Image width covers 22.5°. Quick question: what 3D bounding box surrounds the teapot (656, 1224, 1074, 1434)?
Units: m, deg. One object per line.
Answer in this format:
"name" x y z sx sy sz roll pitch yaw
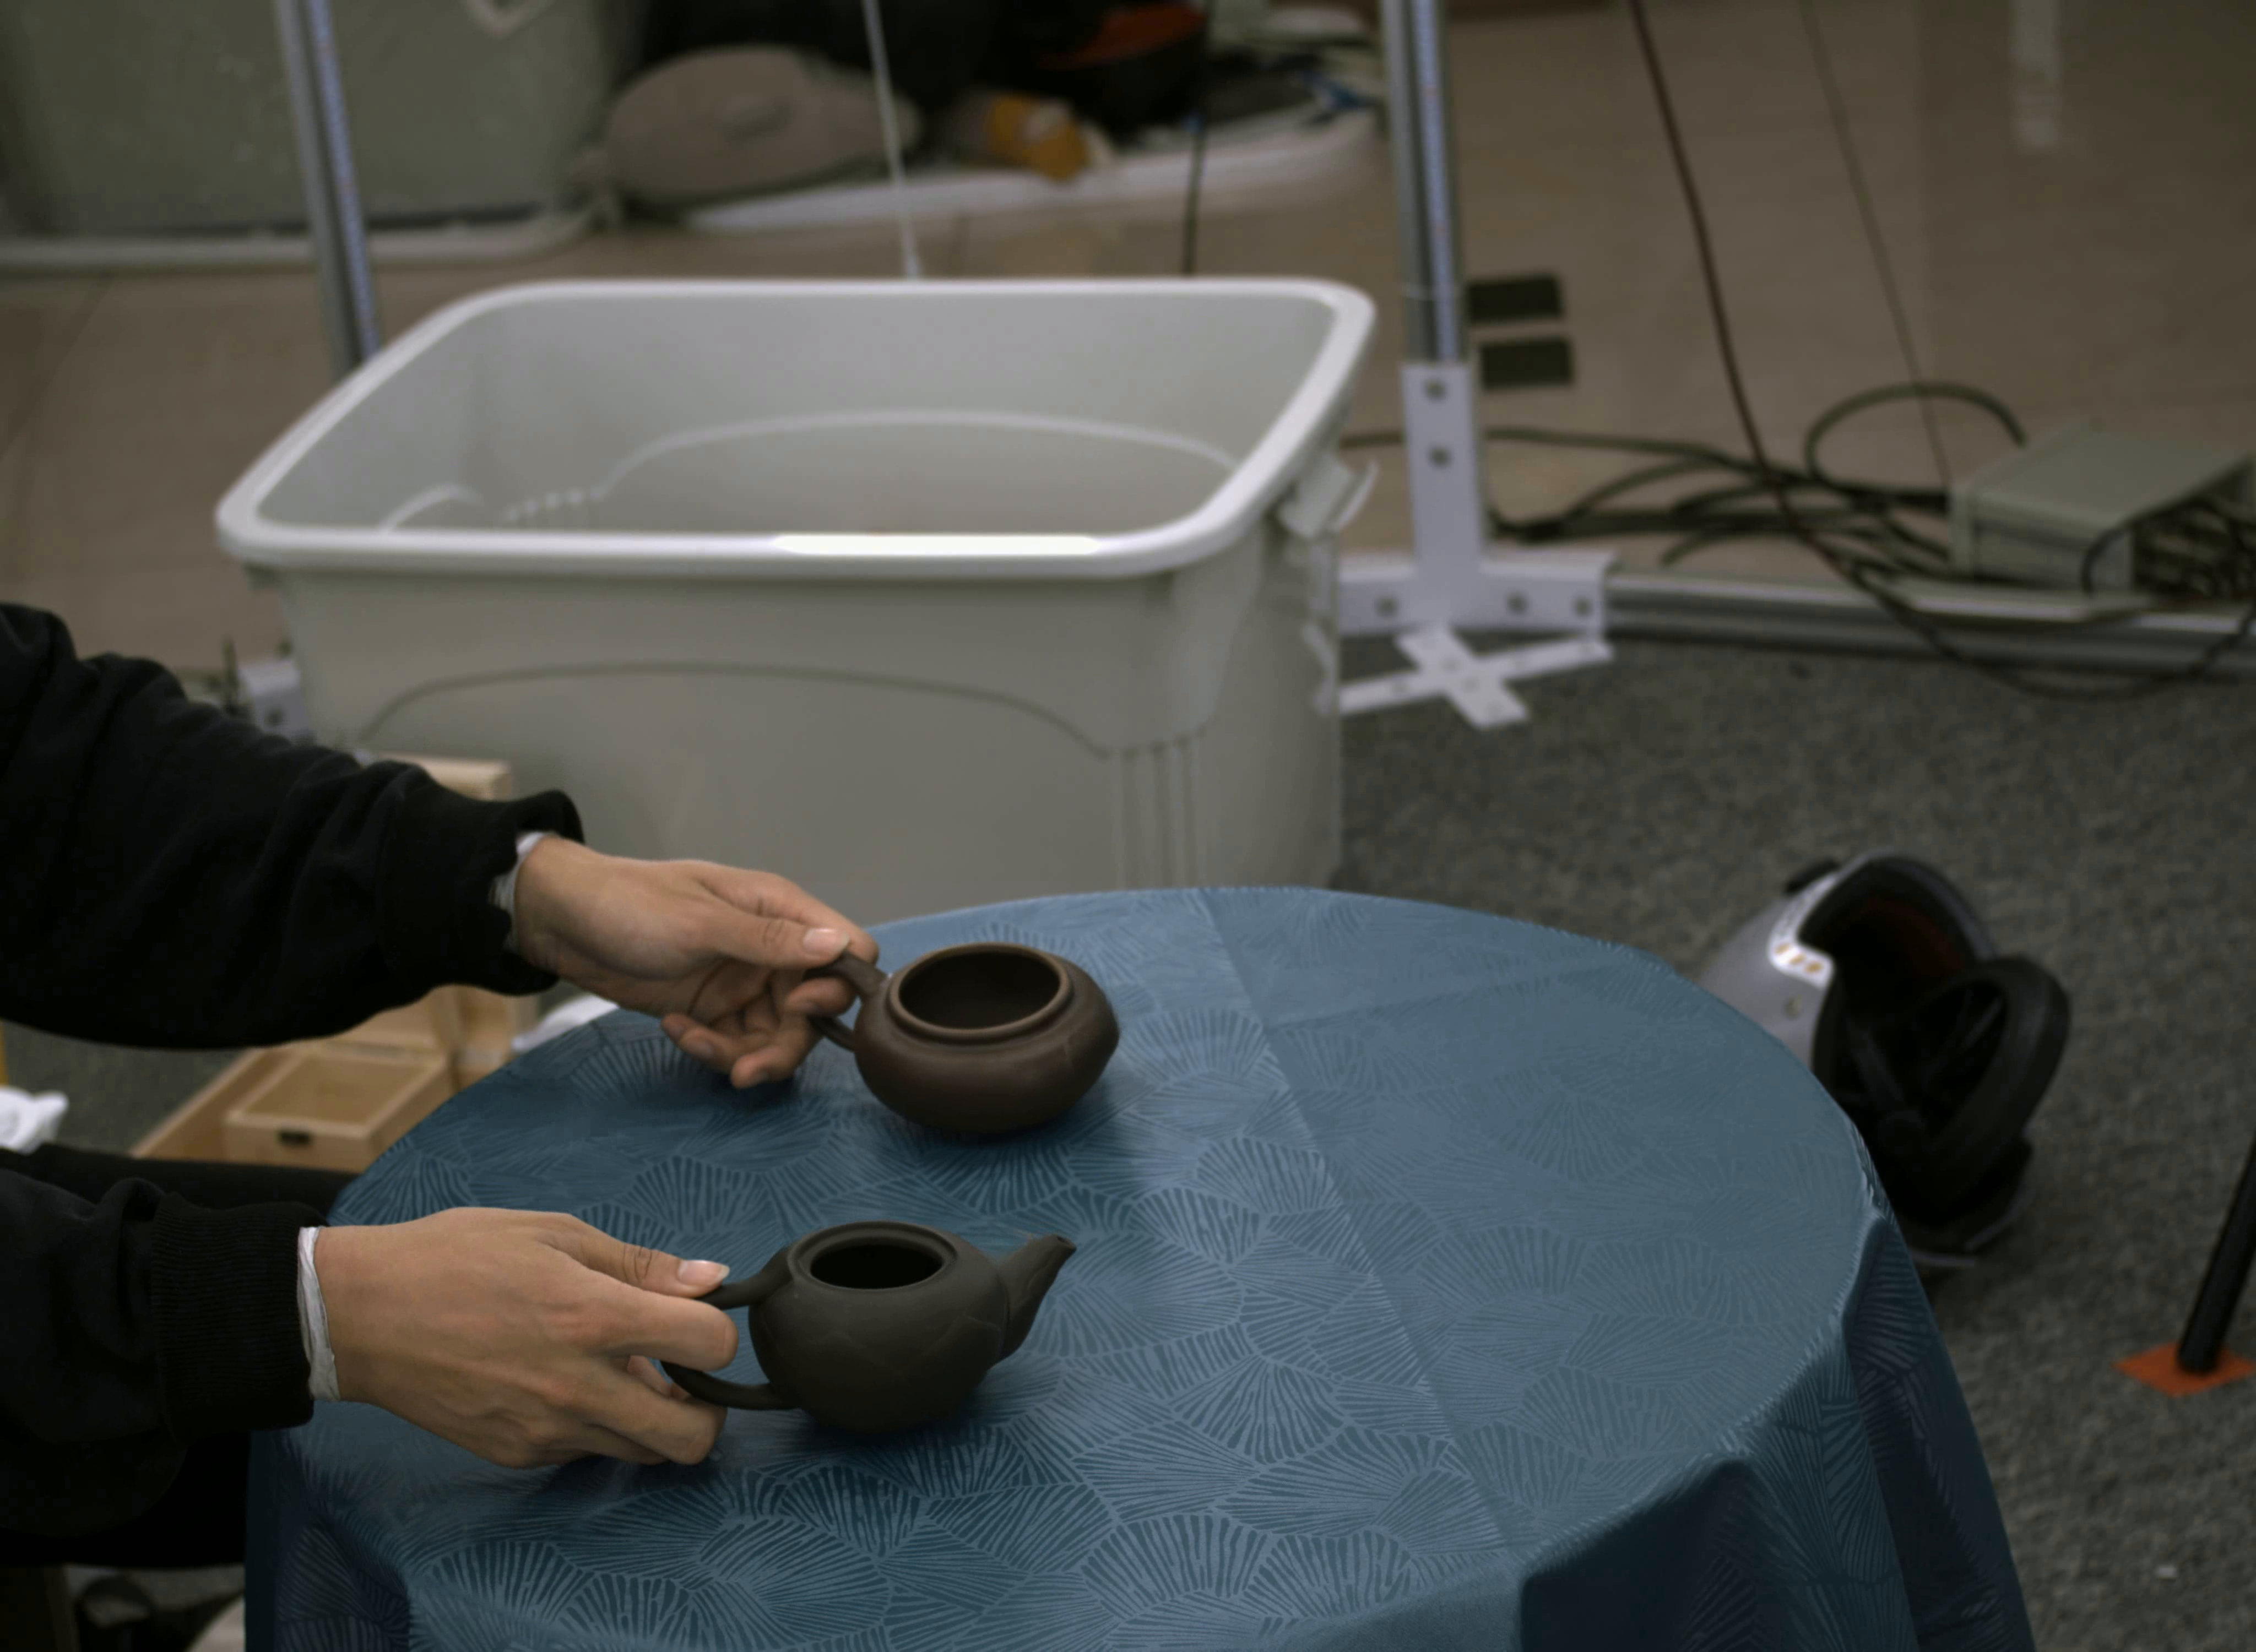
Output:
"teapot" -0.092 0.177 2.010 0.154 0.065 0.091 -8 21 -16

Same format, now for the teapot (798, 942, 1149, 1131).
"teapot" -0.061 0.080 2.219 0.153 0.055 0.101 10 30 21
